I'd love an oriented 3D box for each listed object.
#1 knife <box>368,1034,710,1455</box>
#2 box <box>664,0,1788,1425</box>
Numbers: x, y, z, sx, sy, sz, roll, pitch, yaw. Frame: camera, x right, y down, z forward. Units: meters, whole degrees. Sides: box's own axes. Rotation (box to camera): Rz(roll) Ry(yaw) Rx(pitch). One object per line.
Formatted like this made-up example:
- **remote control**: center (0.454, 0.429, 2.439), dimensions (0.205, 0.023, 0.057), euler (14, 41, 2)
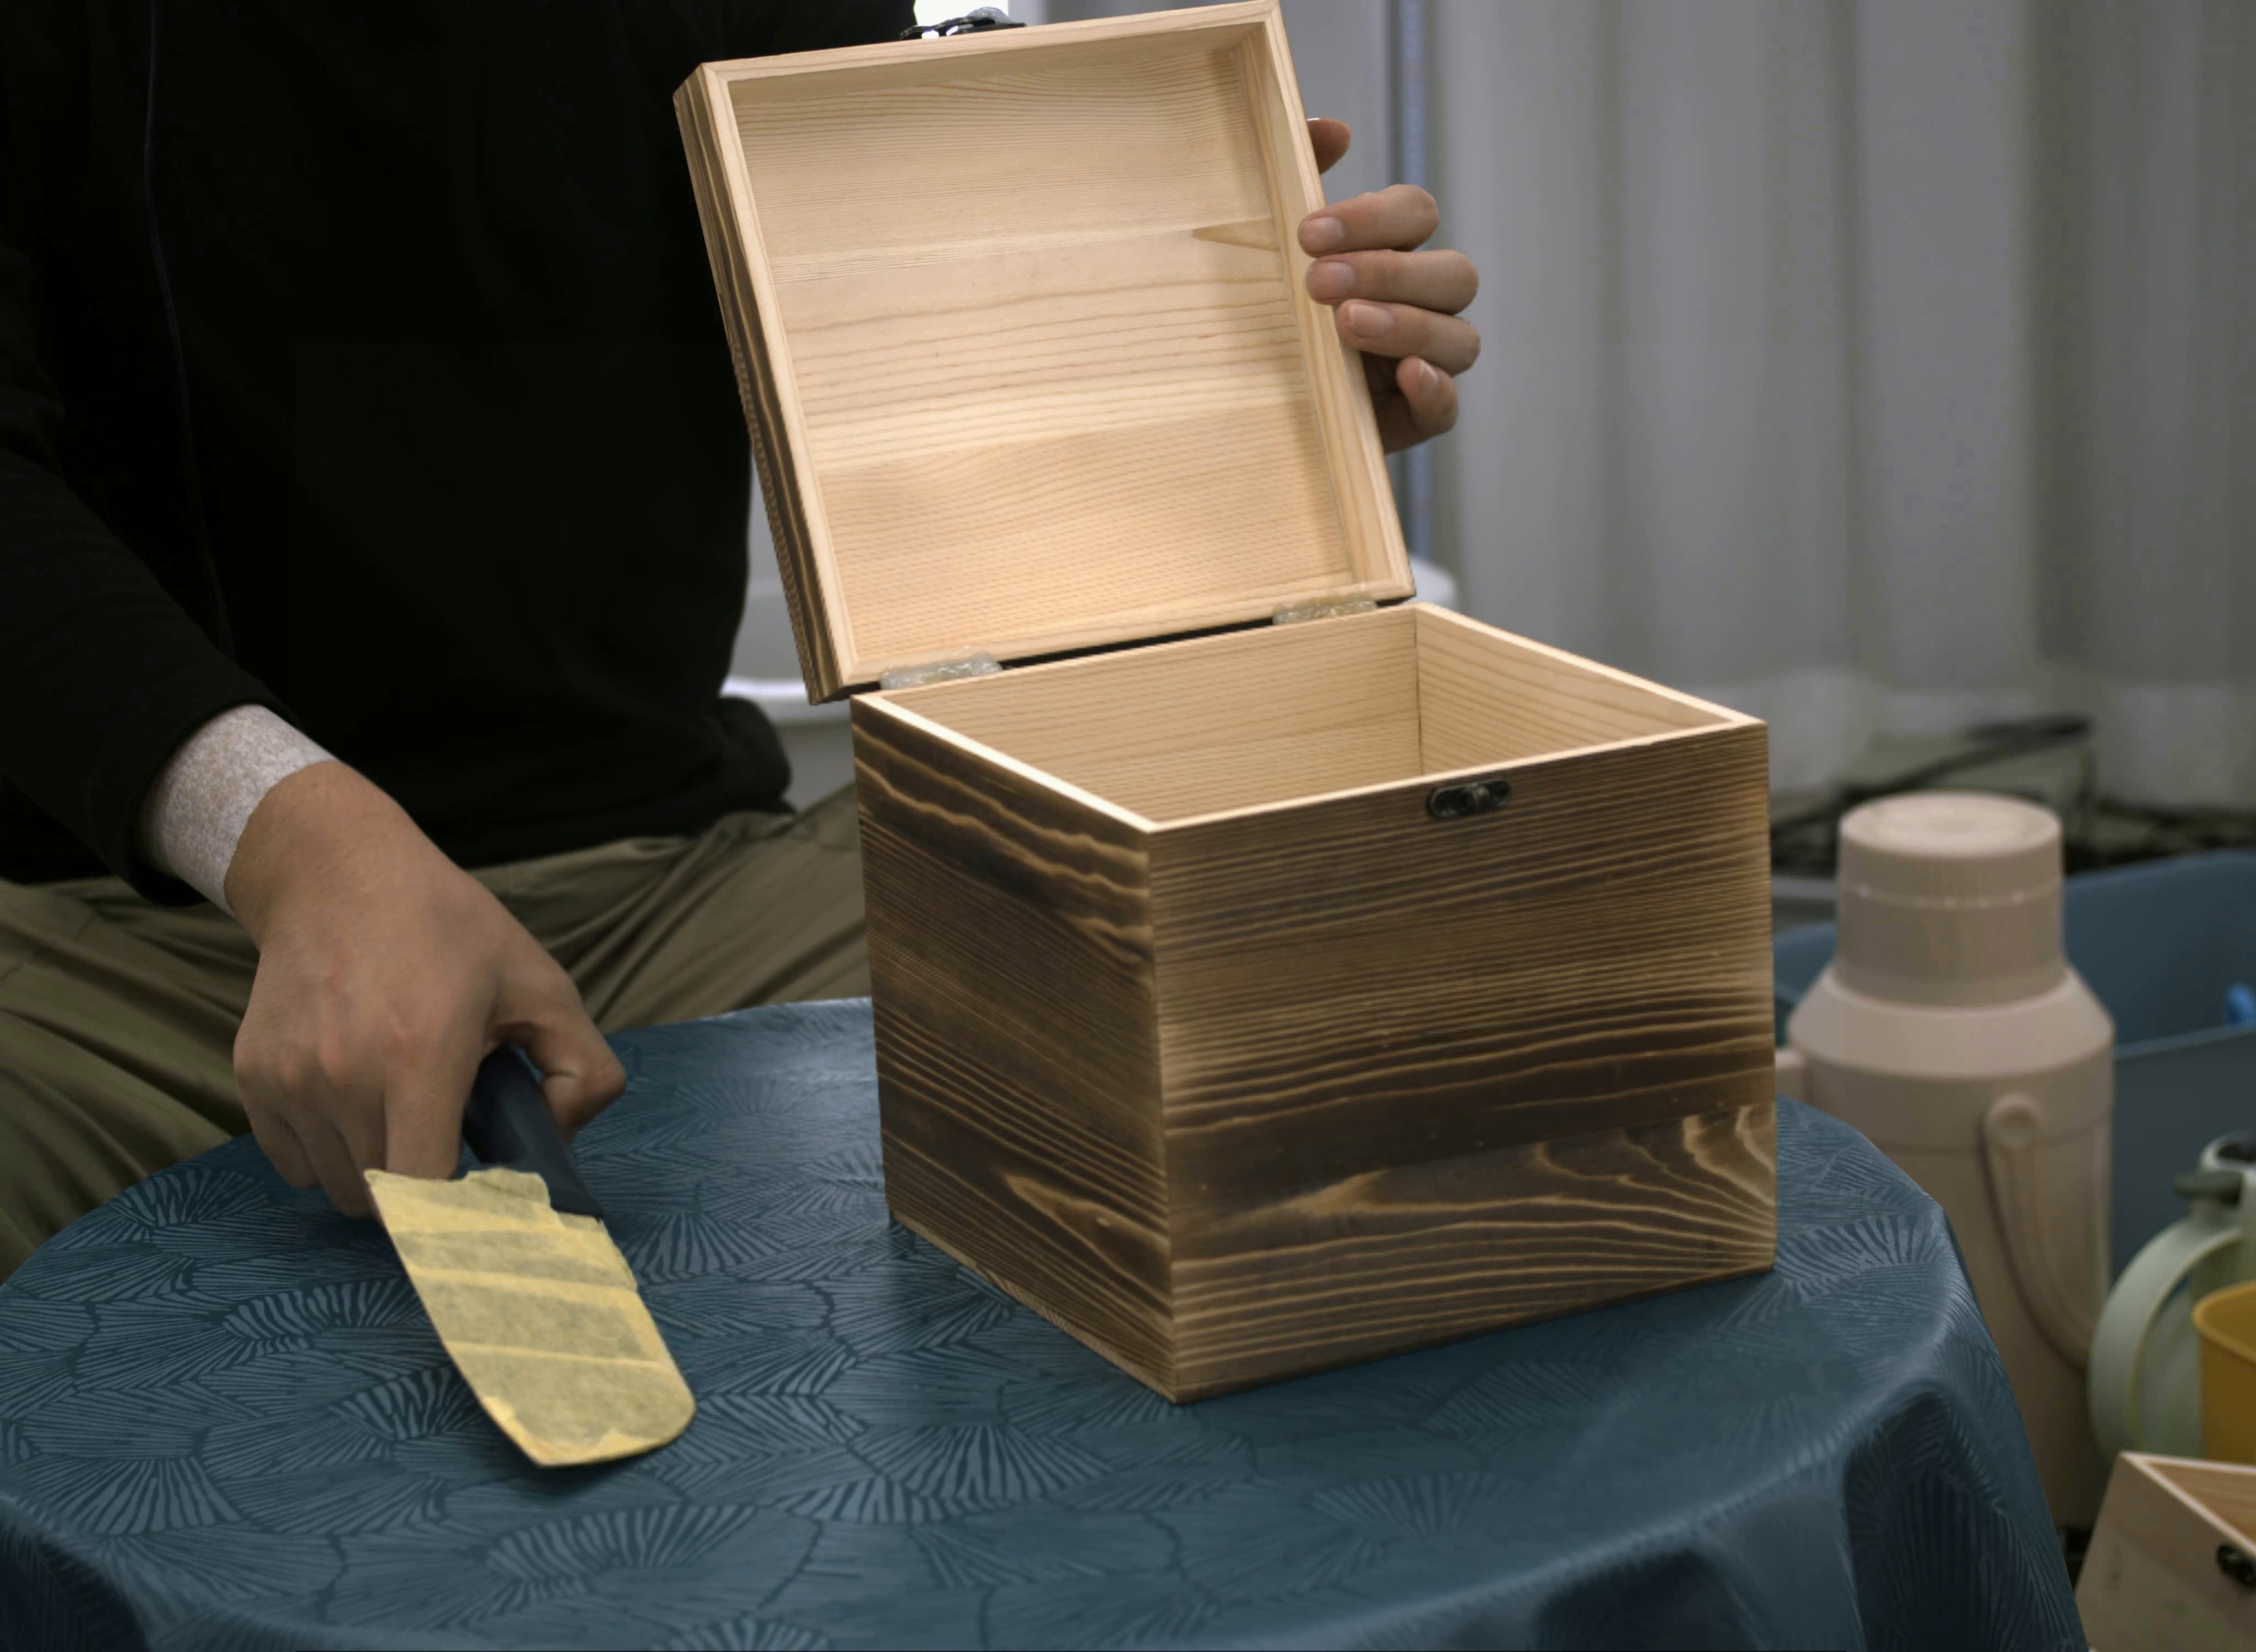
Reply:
- **knife**: center (-0.184, 0.122, 1.623), dimensions (0.080, 0.027, 0.292), euler (14, 15, -23)
- **box**: center (0.024, -0.057, 1.660), dimensions (0.208, 0.374, 0.324), euler (-11, 15, -25)
